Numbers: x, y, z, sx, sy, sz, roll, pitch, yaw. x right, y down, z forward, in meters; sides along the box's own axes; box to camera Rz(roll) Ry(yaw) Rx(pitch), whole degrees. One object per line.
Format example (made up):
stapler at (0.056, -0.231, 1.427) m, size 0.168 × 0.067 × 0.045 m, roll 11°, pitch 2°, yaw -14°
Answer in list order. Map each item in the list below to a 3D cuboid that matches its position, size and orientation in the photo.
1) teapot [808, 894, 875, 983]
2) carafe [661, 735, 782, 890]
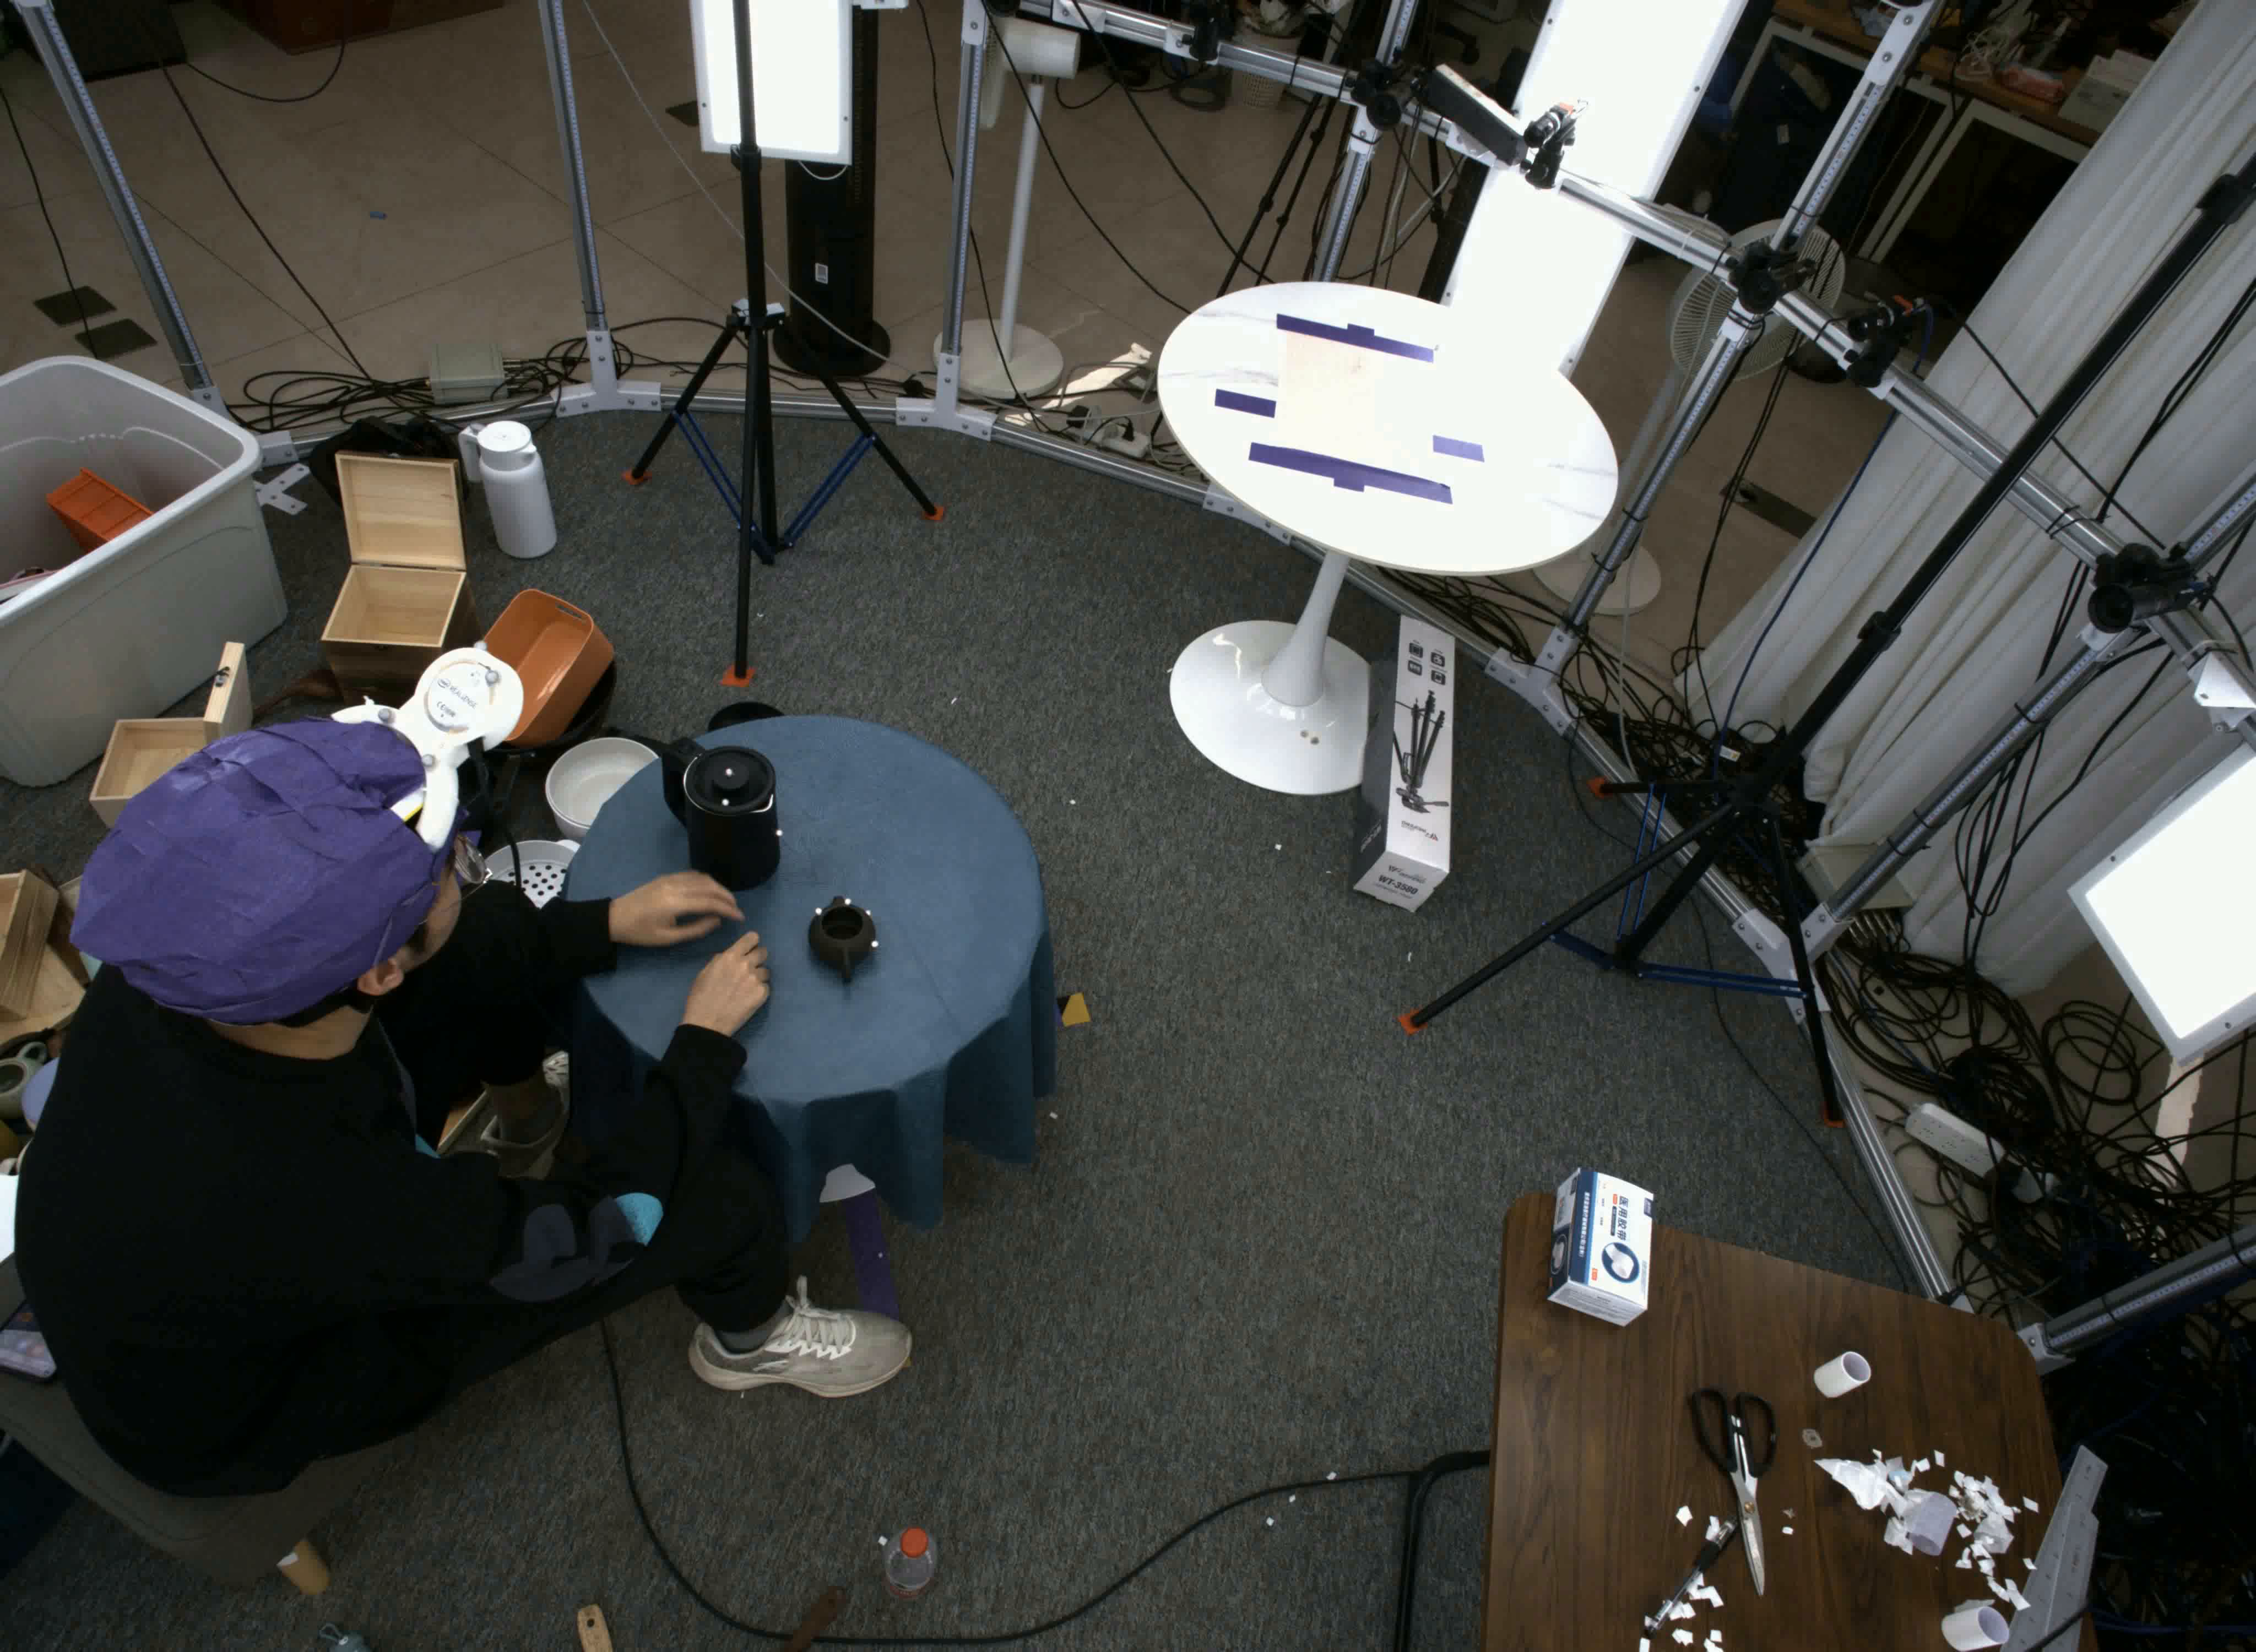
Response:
teapot at (-0.355, 0.140, 1.612) m, size 0.083 × 0.054 × 0.111 m, roll -2°, pitch 51°, yaw -14°
carafe at (-0.513, -0.026, 1.616) m, size 0.169 × 0.176 × 0.114 m, roll 33°, pitch 55°, yaw 10°
